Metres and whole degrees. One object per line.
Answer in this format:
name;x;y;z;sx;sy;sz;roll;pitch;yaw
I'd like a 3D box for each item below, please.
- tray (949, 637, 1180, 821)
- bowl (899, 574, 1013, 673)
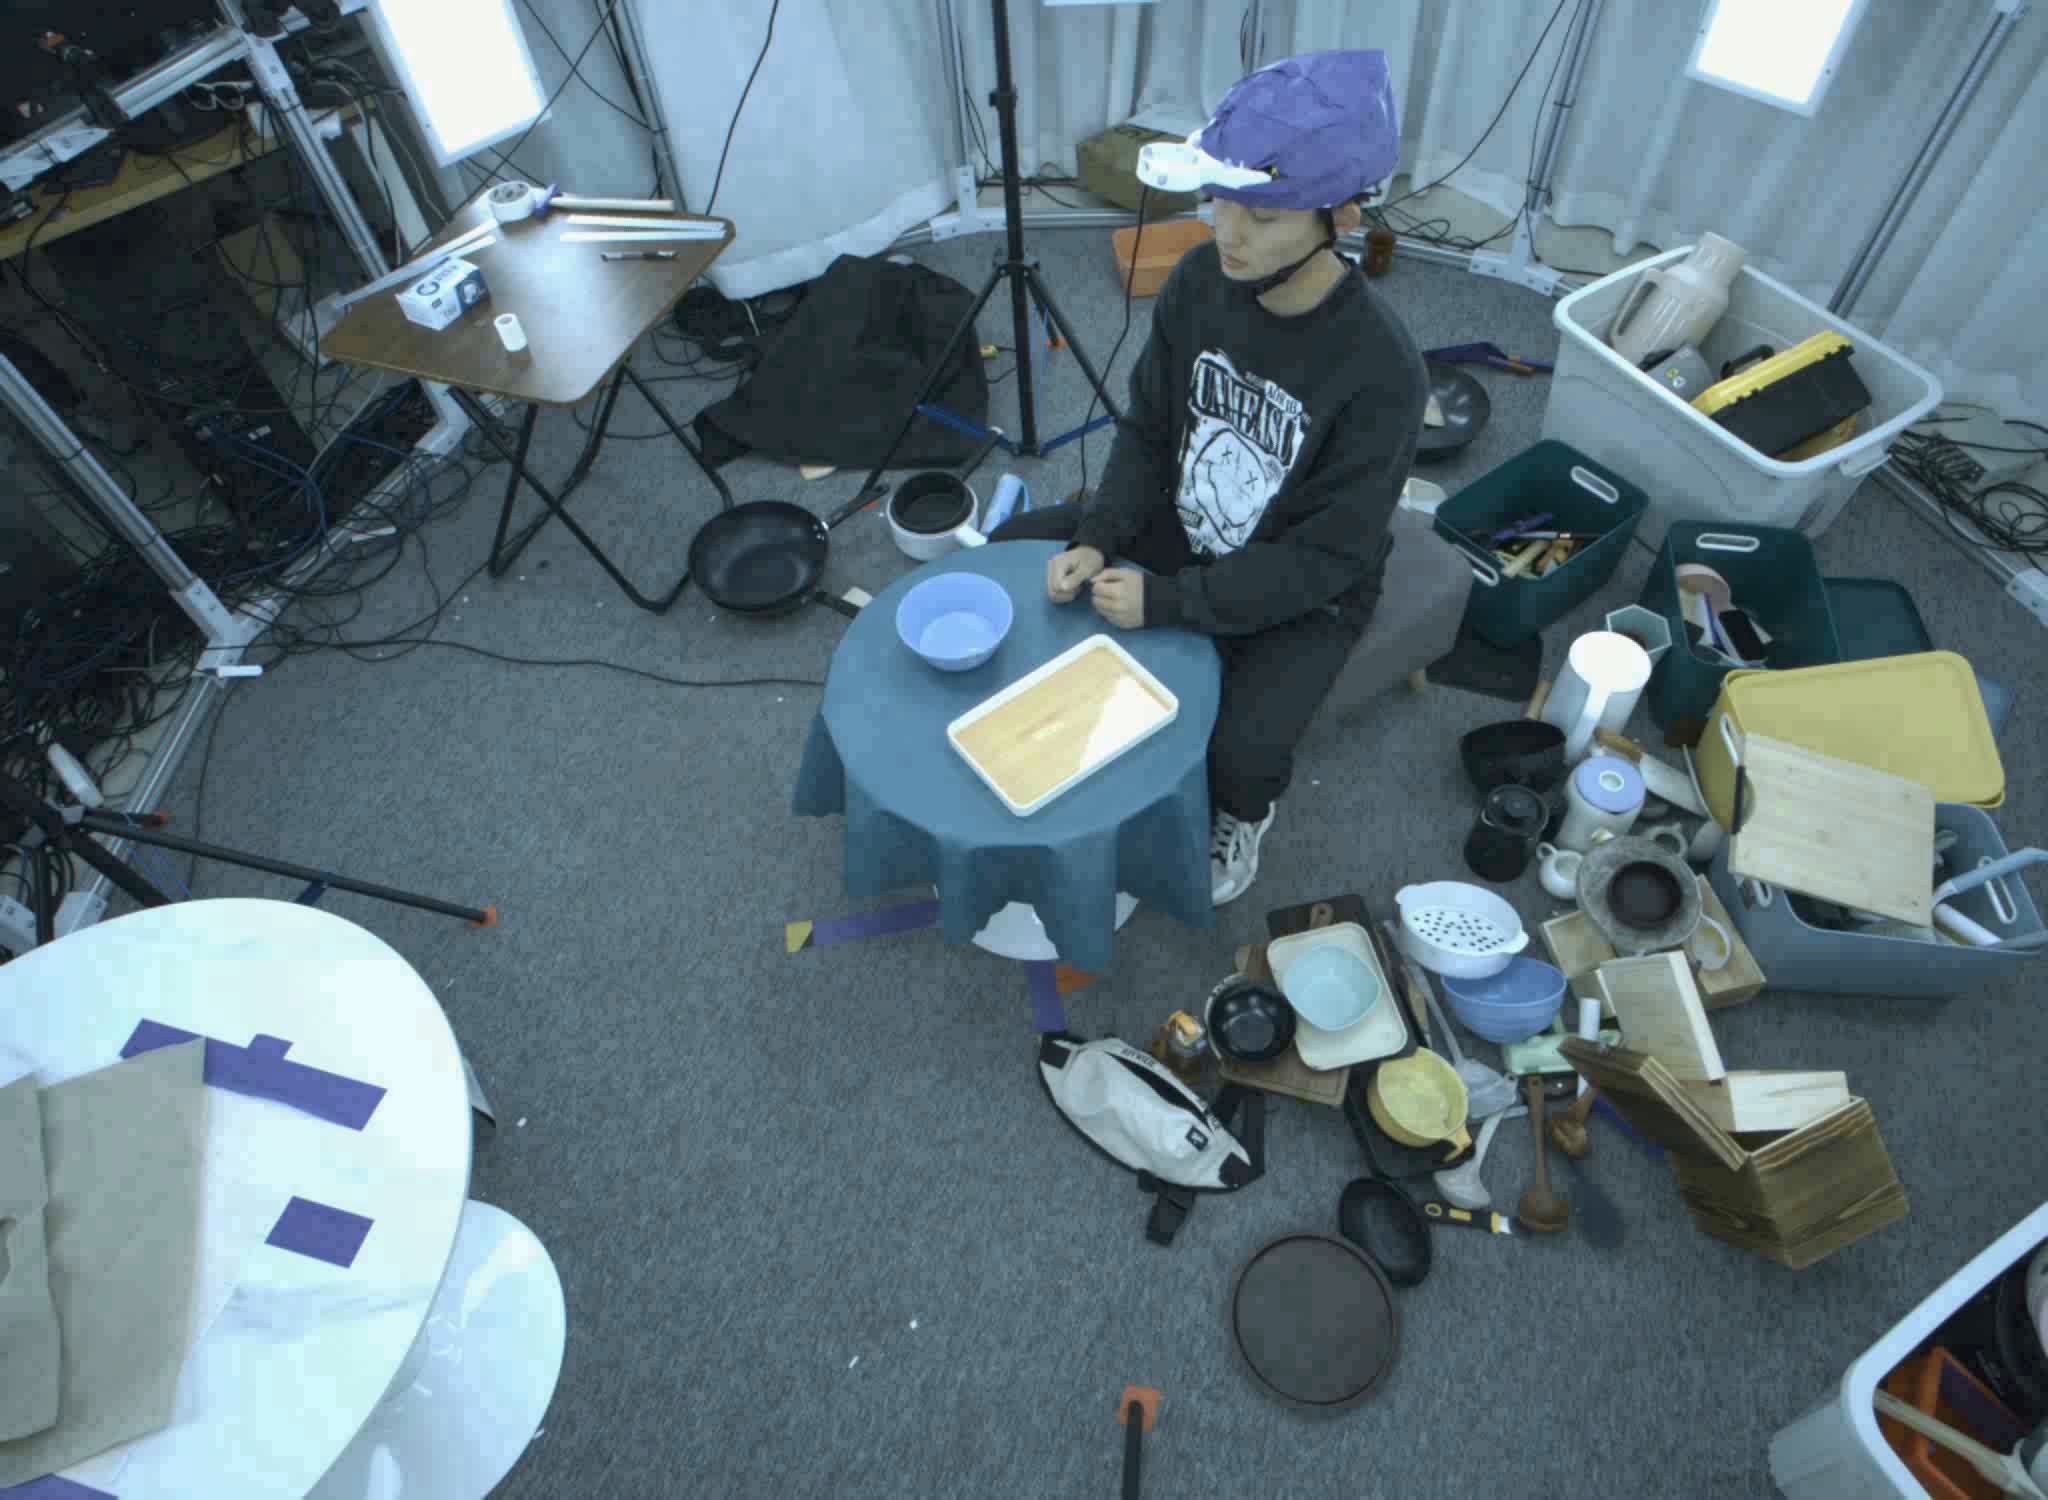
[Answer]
tray;0.060;-0.037;1.806;0.302;0.028;0.188;-33;60;-19
bowl;-0.102;-0.184;1.886;0.176;0.071;0.174;-1;56;2
